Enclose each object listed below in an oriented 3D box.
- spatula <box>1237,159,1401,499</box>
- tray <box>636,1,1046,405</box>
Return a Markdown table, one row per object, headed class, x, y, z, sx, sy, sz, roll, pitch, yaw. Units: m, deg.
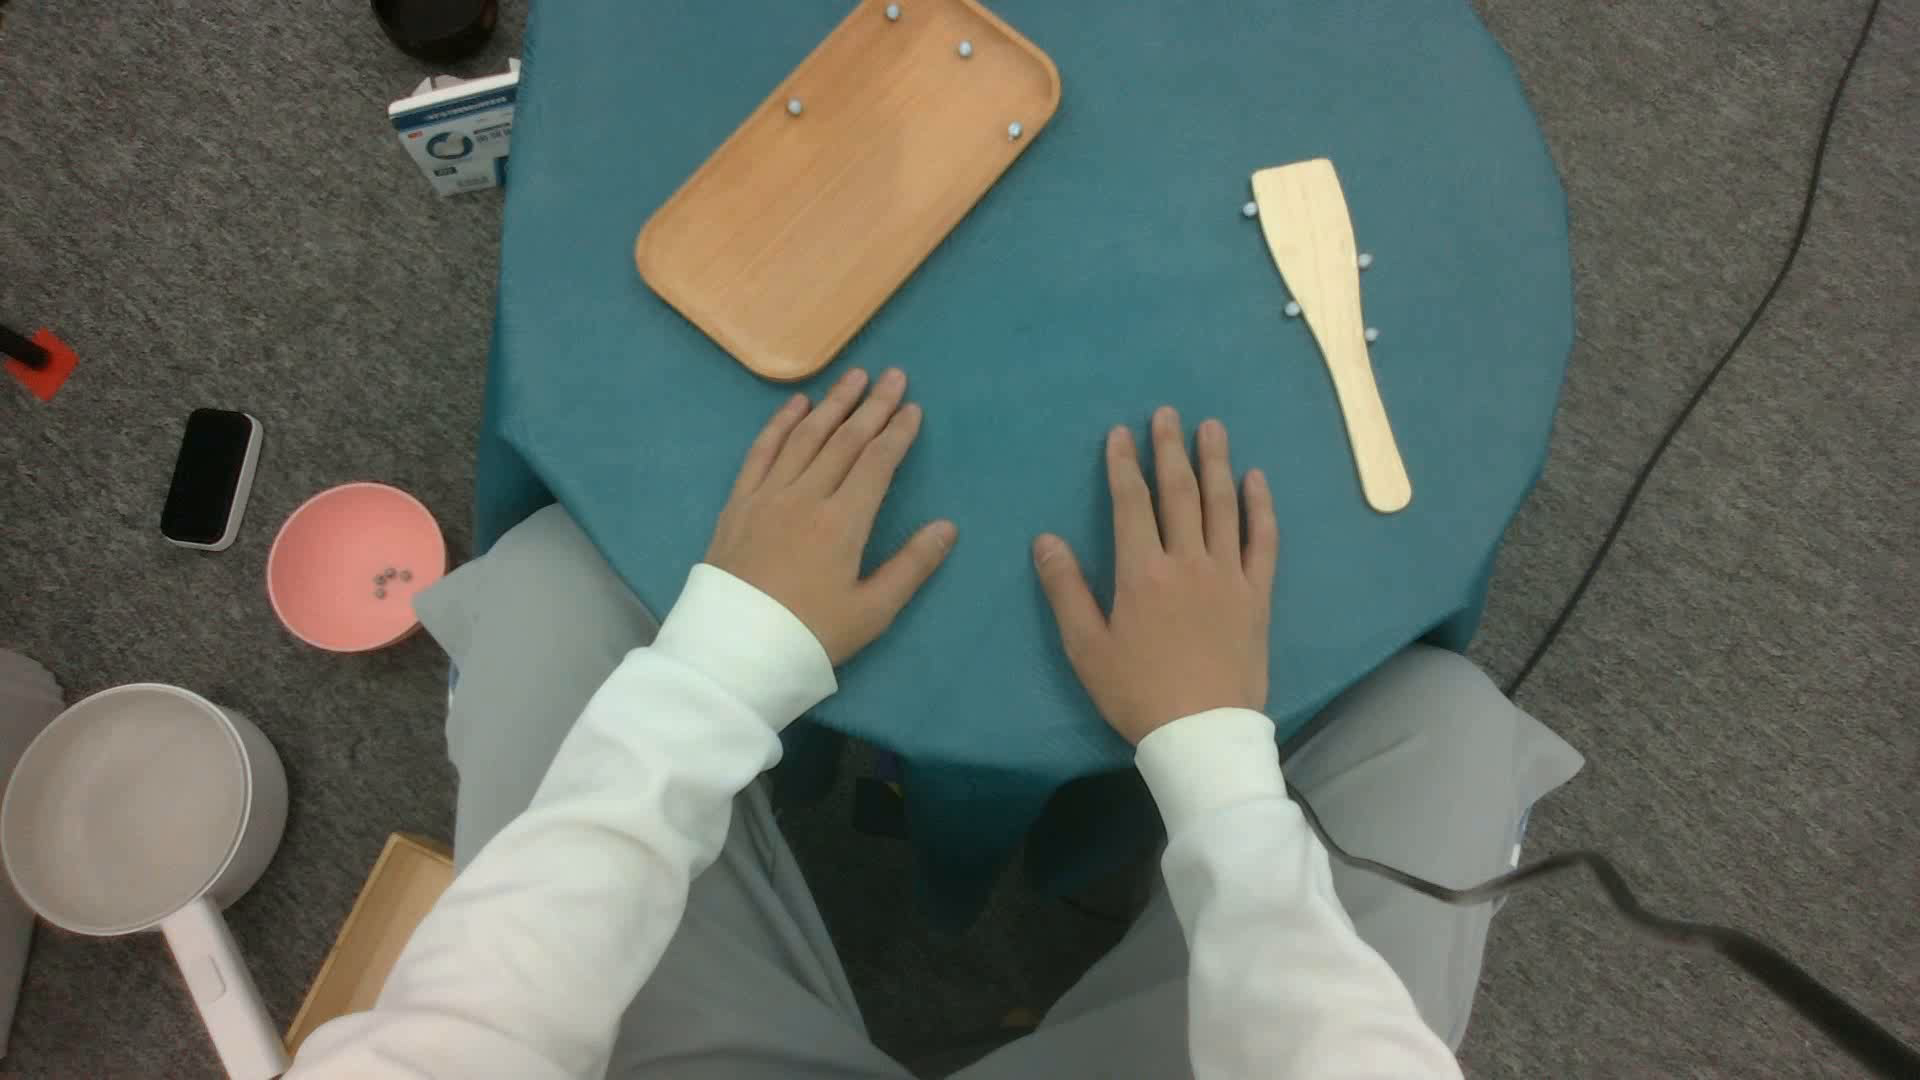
| class | x | y | z | sx | sy | sz | roll | pitch | yaw |
| --- | --- | --- | --- | --- | --- | --- | --- | --- | --- |
| spatula | 0.206 | -0.120 | 0.774 | 0.050 | 0.005 | 0.208 | -13 | 75 | -4 |
| tray | -0.065 | -0.195 | 0.785 | 0.130 | 0.023 | 0.251 | 36 | 78 | 11 |
